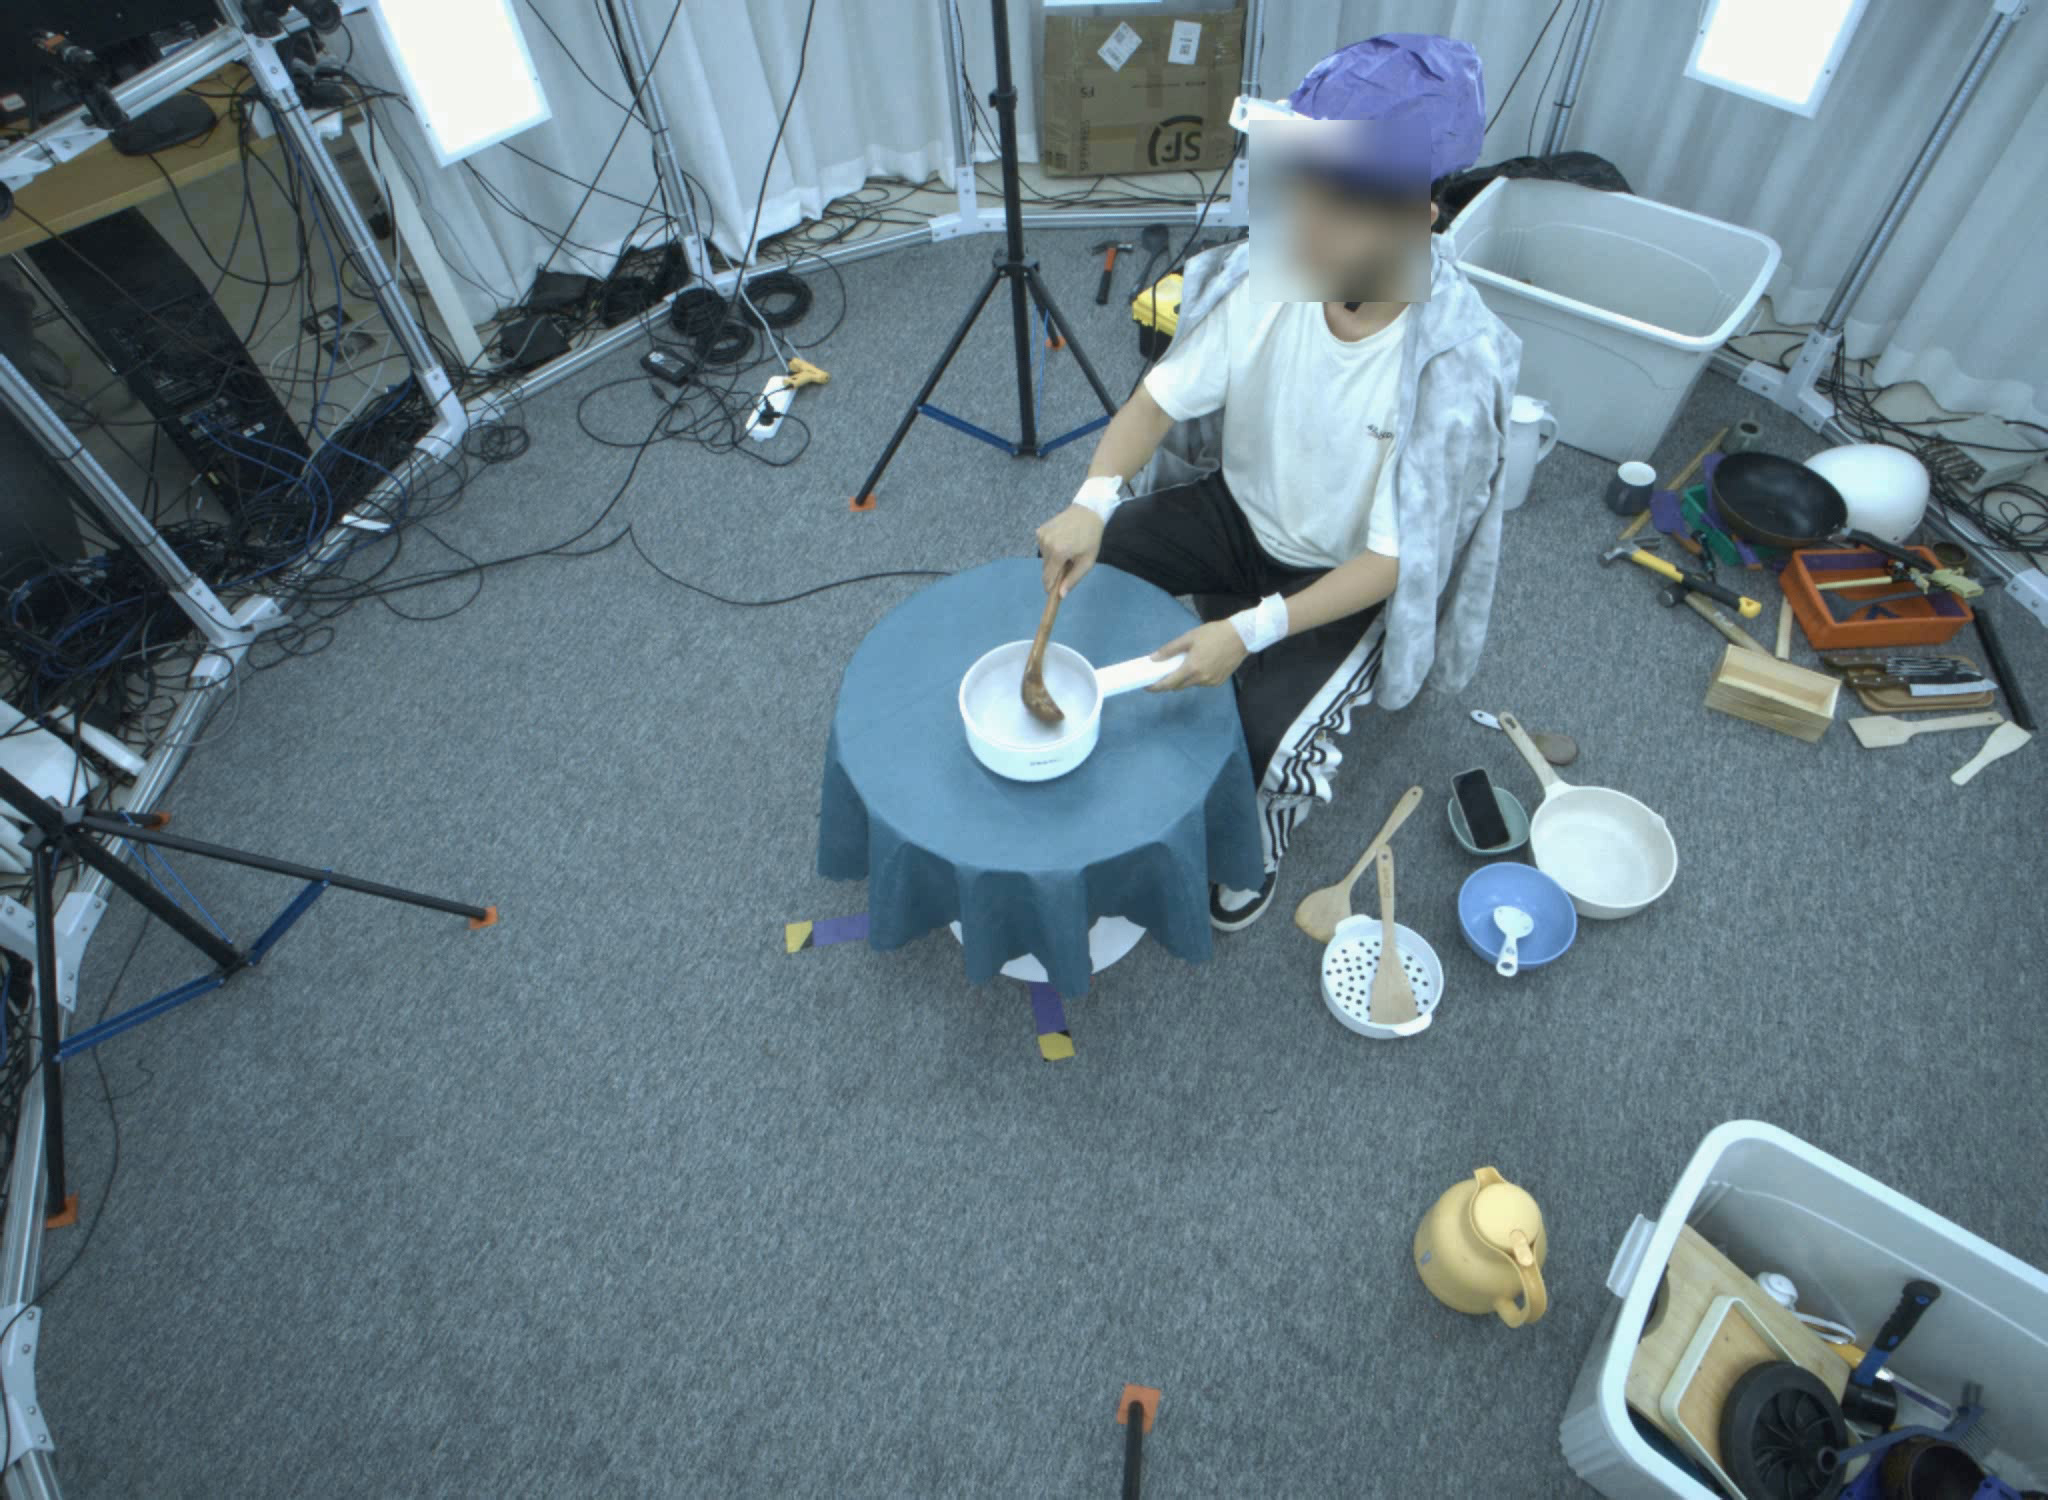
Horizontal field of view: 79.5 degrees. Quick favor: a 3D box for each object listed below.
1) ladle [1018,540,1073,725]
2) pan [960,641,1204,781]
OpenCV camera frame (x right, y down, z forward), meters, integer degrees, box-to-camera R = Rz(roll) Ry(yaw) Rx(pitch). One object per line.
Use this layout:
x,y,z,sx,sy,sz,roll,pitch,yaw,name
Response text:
0.052,-0.169,1.750,0.075,0.083,0.273,15,80,19,ladle
0.085,-0.070,1.778,0.357,0.103,0.198,-14,54,-10,pan
